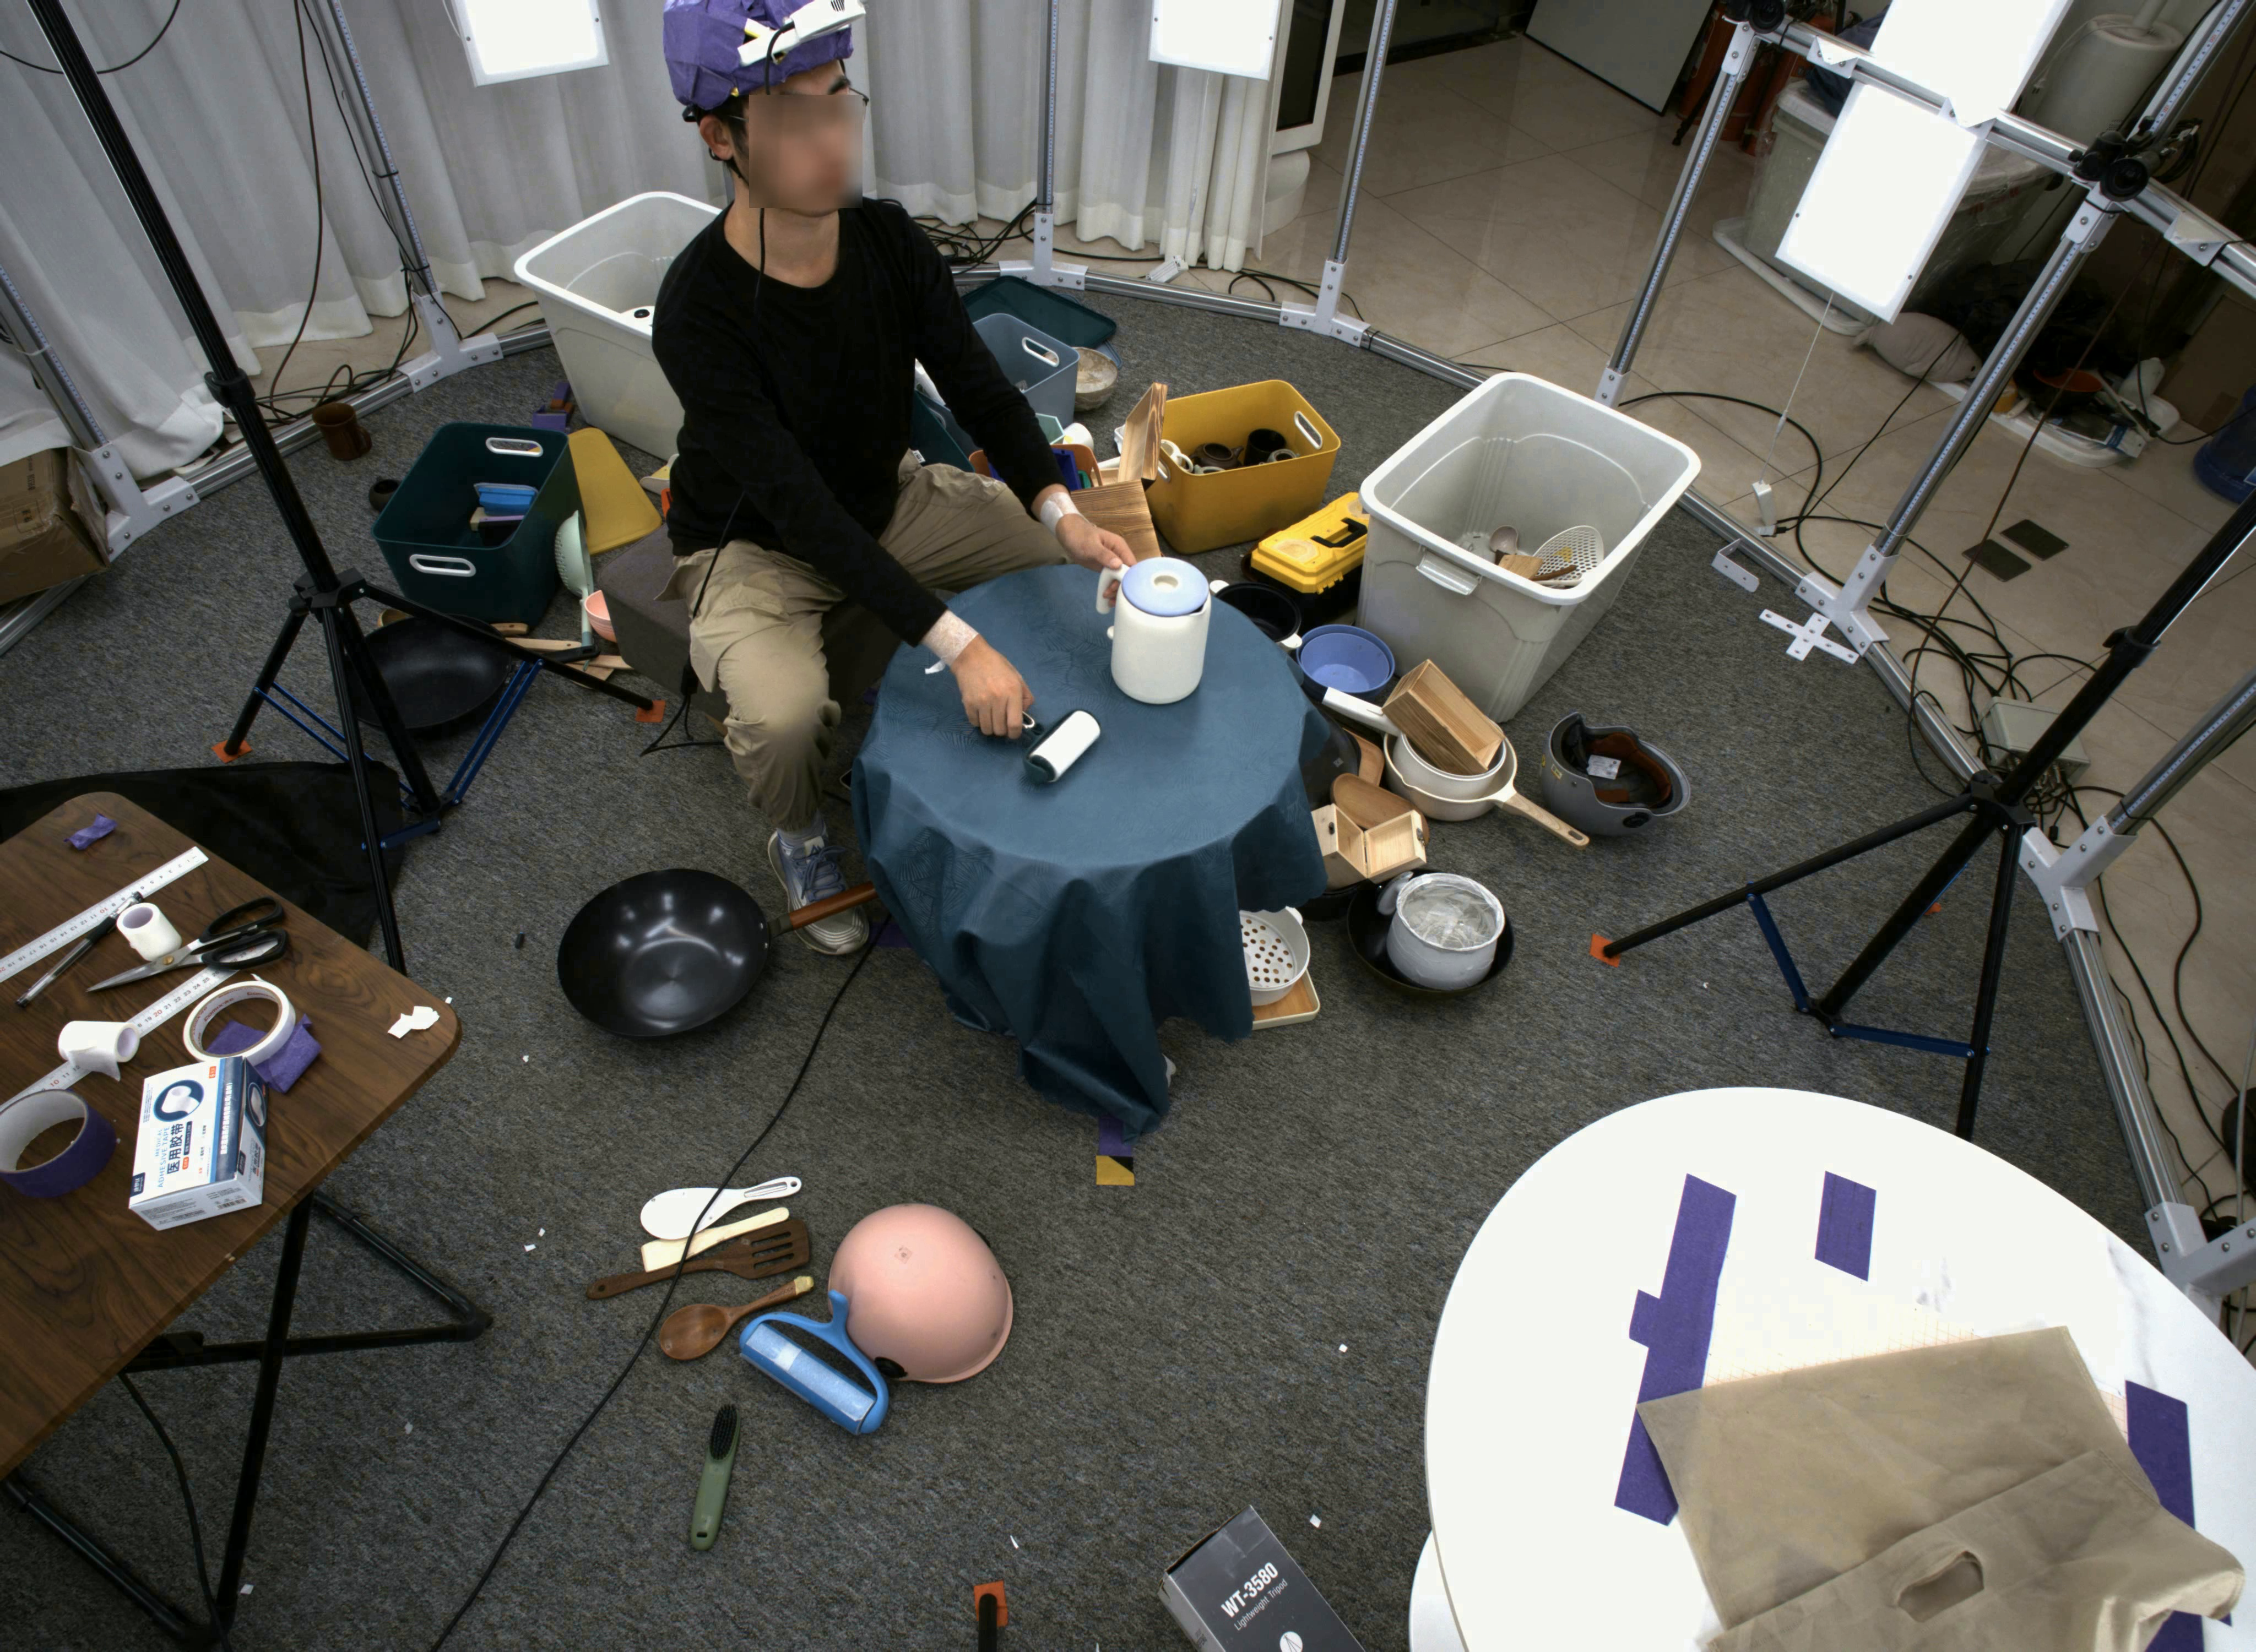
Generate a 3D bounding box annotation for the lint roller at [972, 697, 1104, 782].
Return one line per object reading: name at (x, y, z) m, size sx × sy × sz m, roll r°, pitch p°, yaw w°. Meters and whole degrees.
lint roller at (-0.141, -0.142, 1.747) m, size 0.182 × 0.047 × 0.136 m, roll 34°, pitch 55°, yaw 19°

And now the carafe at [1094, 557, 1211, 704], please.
carafe at (0.027, -0.286, 1.809) m, size 0.194 × 0.178 × 0.133 m, roll 35°, pitch 55°, yaw 26°
